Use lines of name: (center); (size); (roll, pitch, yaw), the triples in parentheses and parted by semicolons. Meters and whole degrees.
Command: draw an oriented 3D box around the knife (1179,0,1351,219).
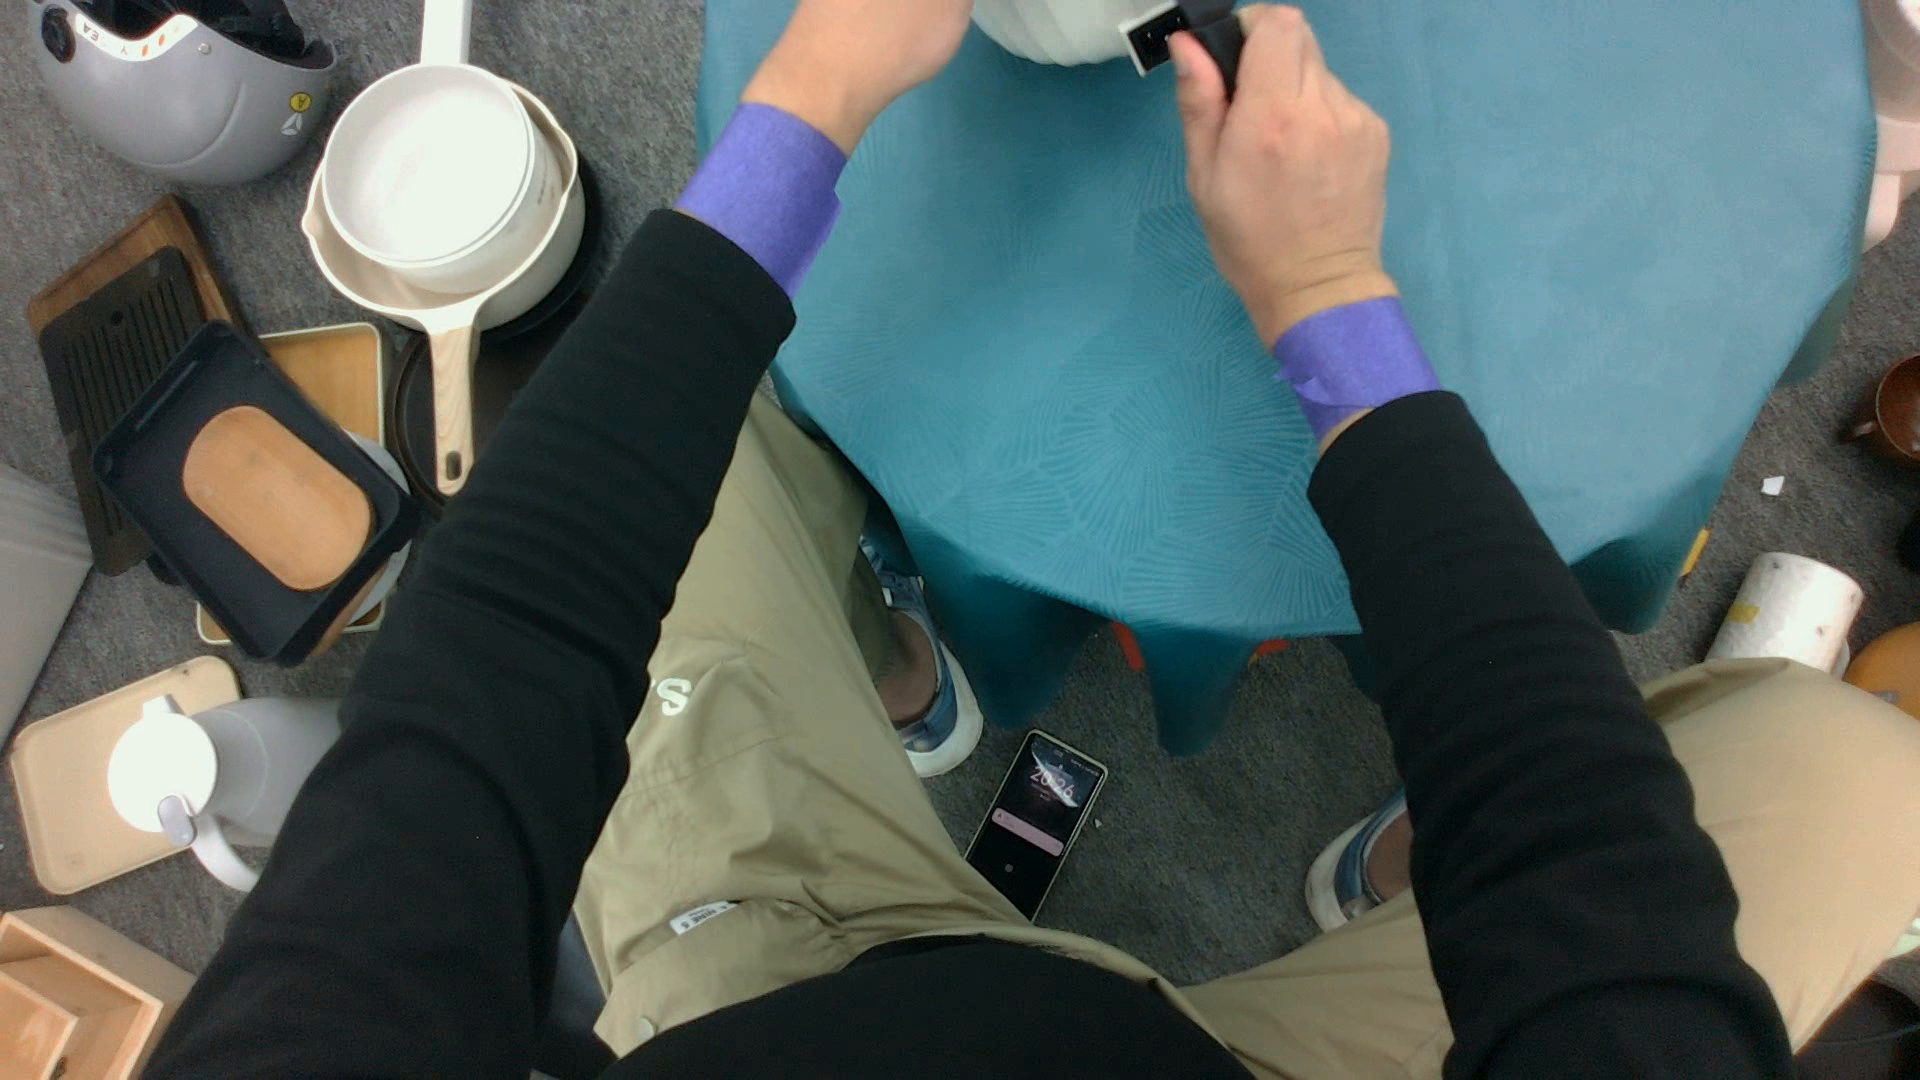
knife: (0.099, -0.251, 0.567); (0.021, 0.302, 0.081); (16, 62, 49)

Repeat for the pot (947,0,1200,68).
pot: (0.052, -0.332, 0.657); (0.240, 0.142, 0.191); (-23, 52, 16)
